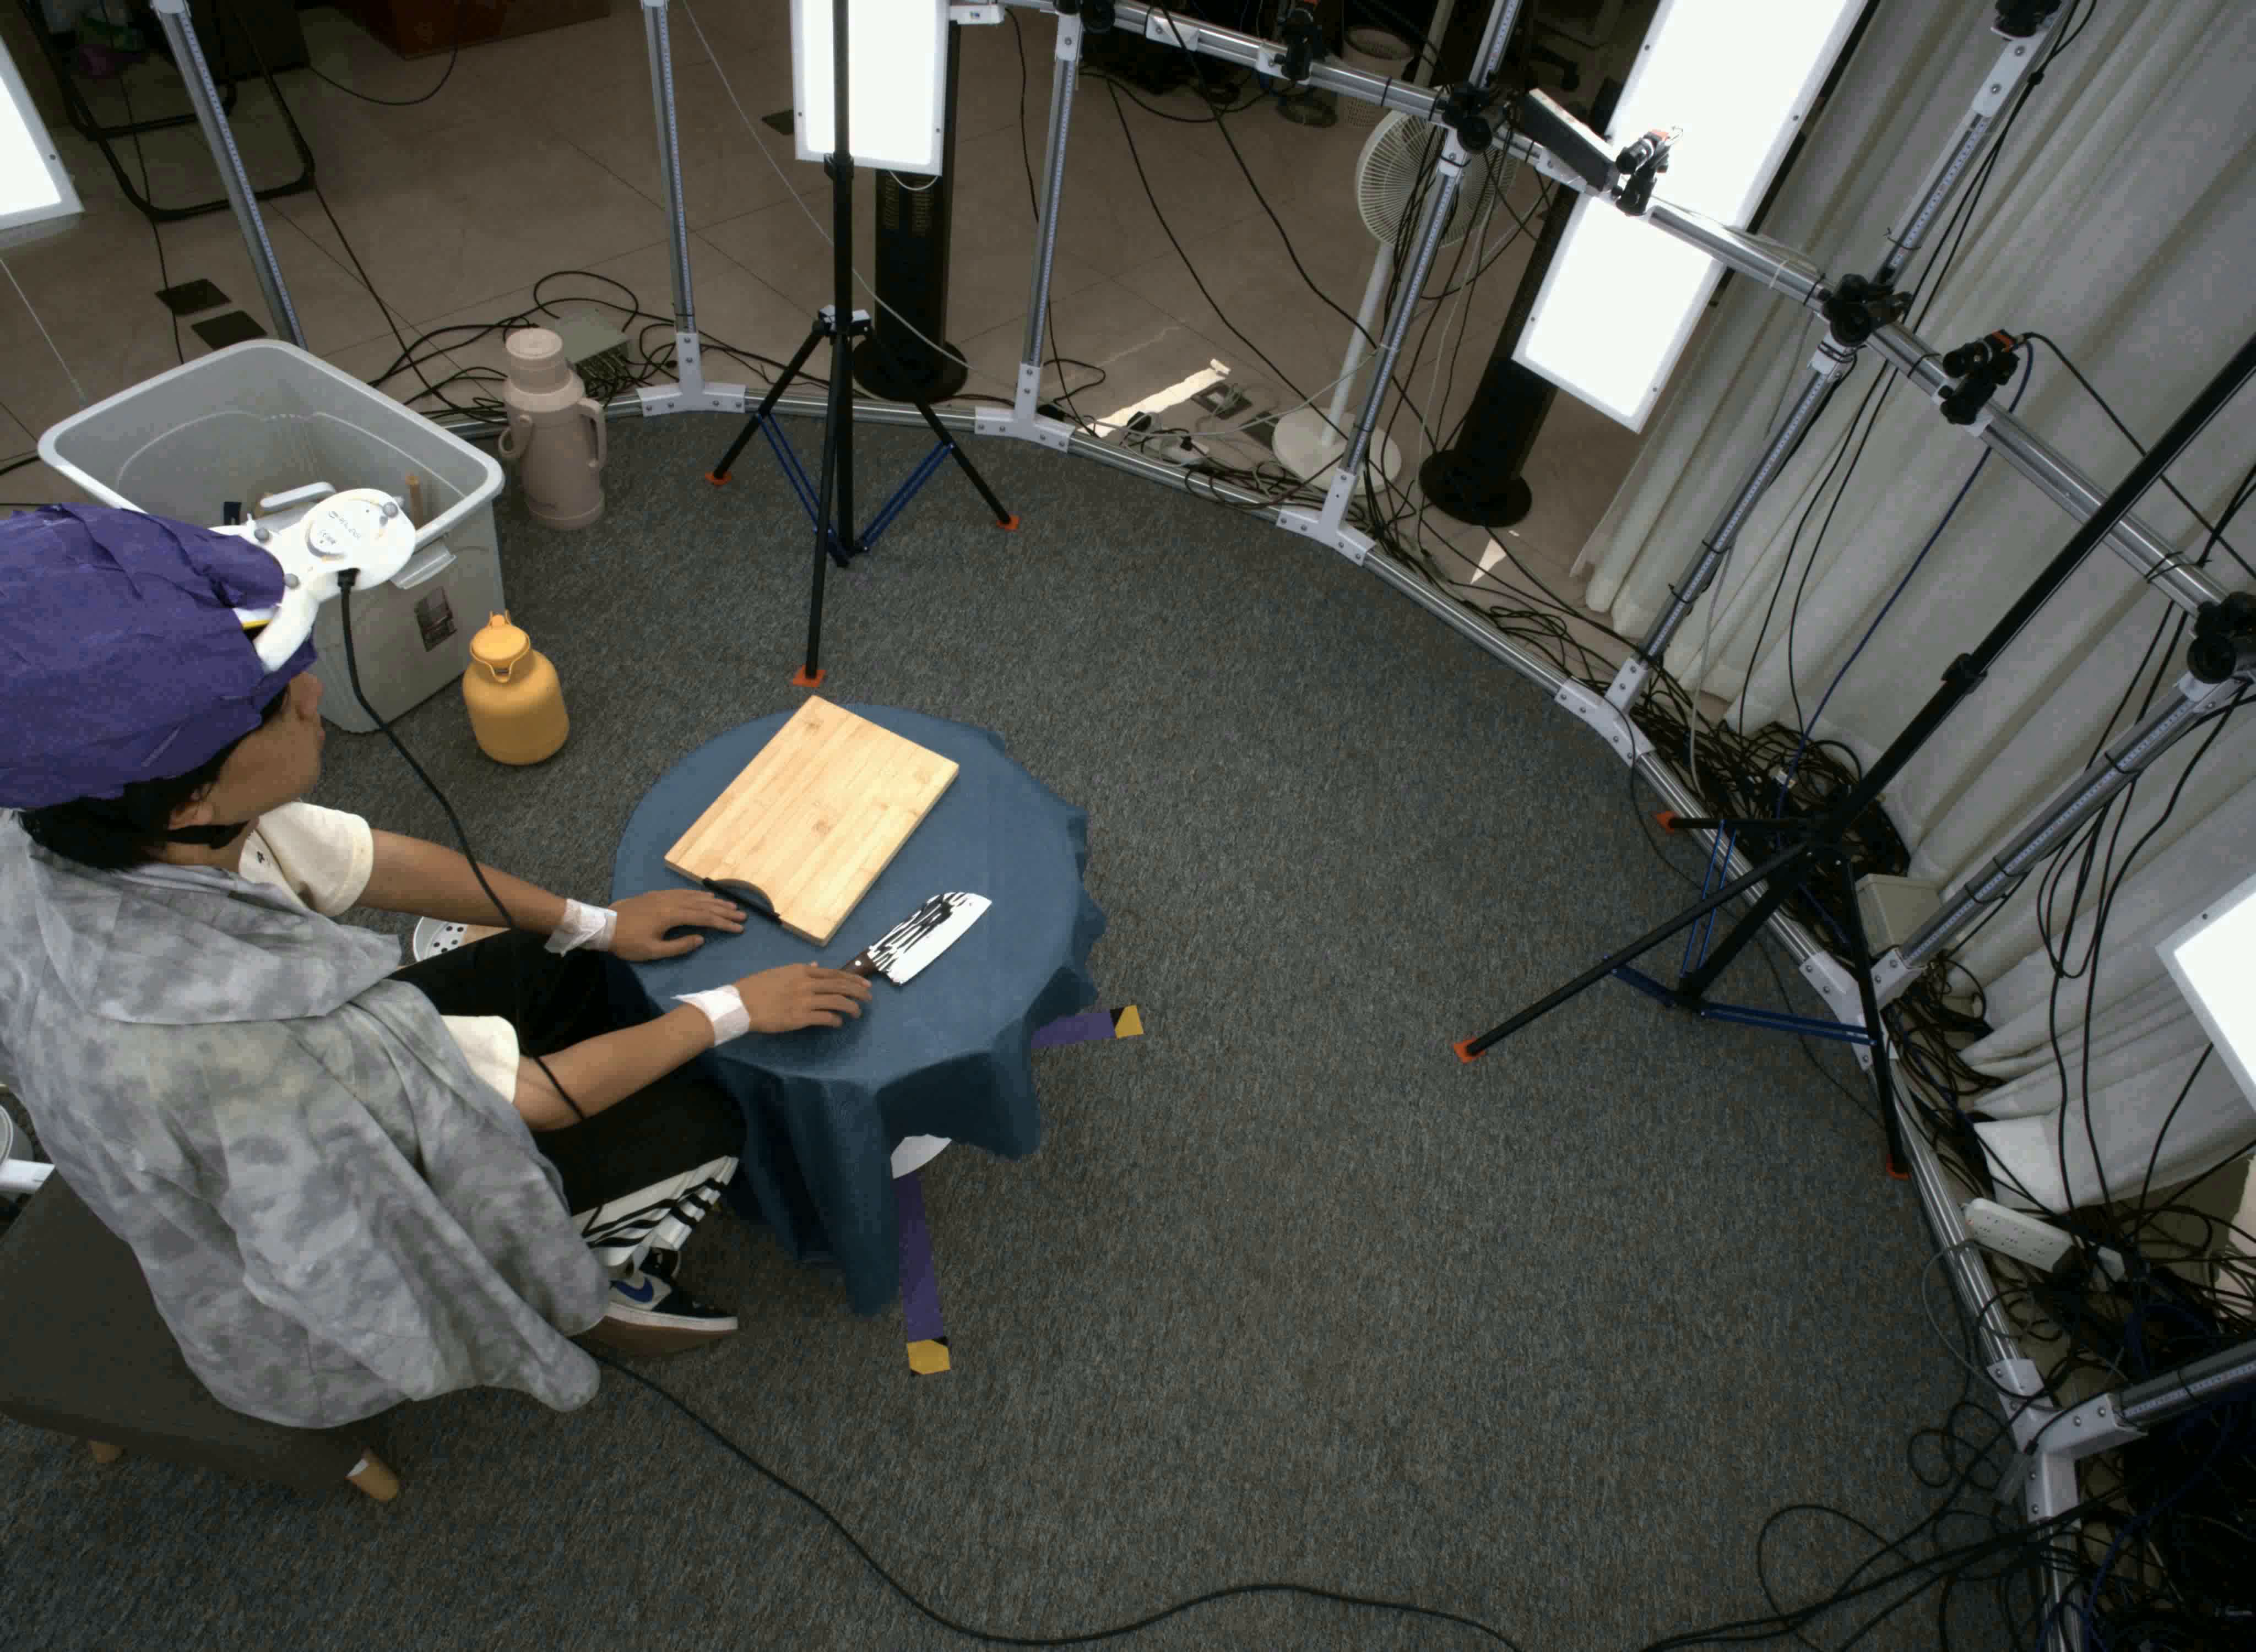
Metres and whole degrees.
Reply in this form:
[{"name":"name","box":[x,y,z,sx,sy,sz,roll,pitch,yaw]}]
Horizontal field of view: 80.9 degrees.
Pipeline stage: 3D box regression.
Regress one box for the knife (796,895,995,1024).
[{"name":"knife","box":[-0.284,0.164,1.627,0.067,0.024,0.300,40,52,14]}]

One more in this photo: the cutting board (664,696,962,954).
[{"name":"cutting board","box":[-0.410,-0.012,1.729,0.247,0.024,0.346,26,52,6]}]
